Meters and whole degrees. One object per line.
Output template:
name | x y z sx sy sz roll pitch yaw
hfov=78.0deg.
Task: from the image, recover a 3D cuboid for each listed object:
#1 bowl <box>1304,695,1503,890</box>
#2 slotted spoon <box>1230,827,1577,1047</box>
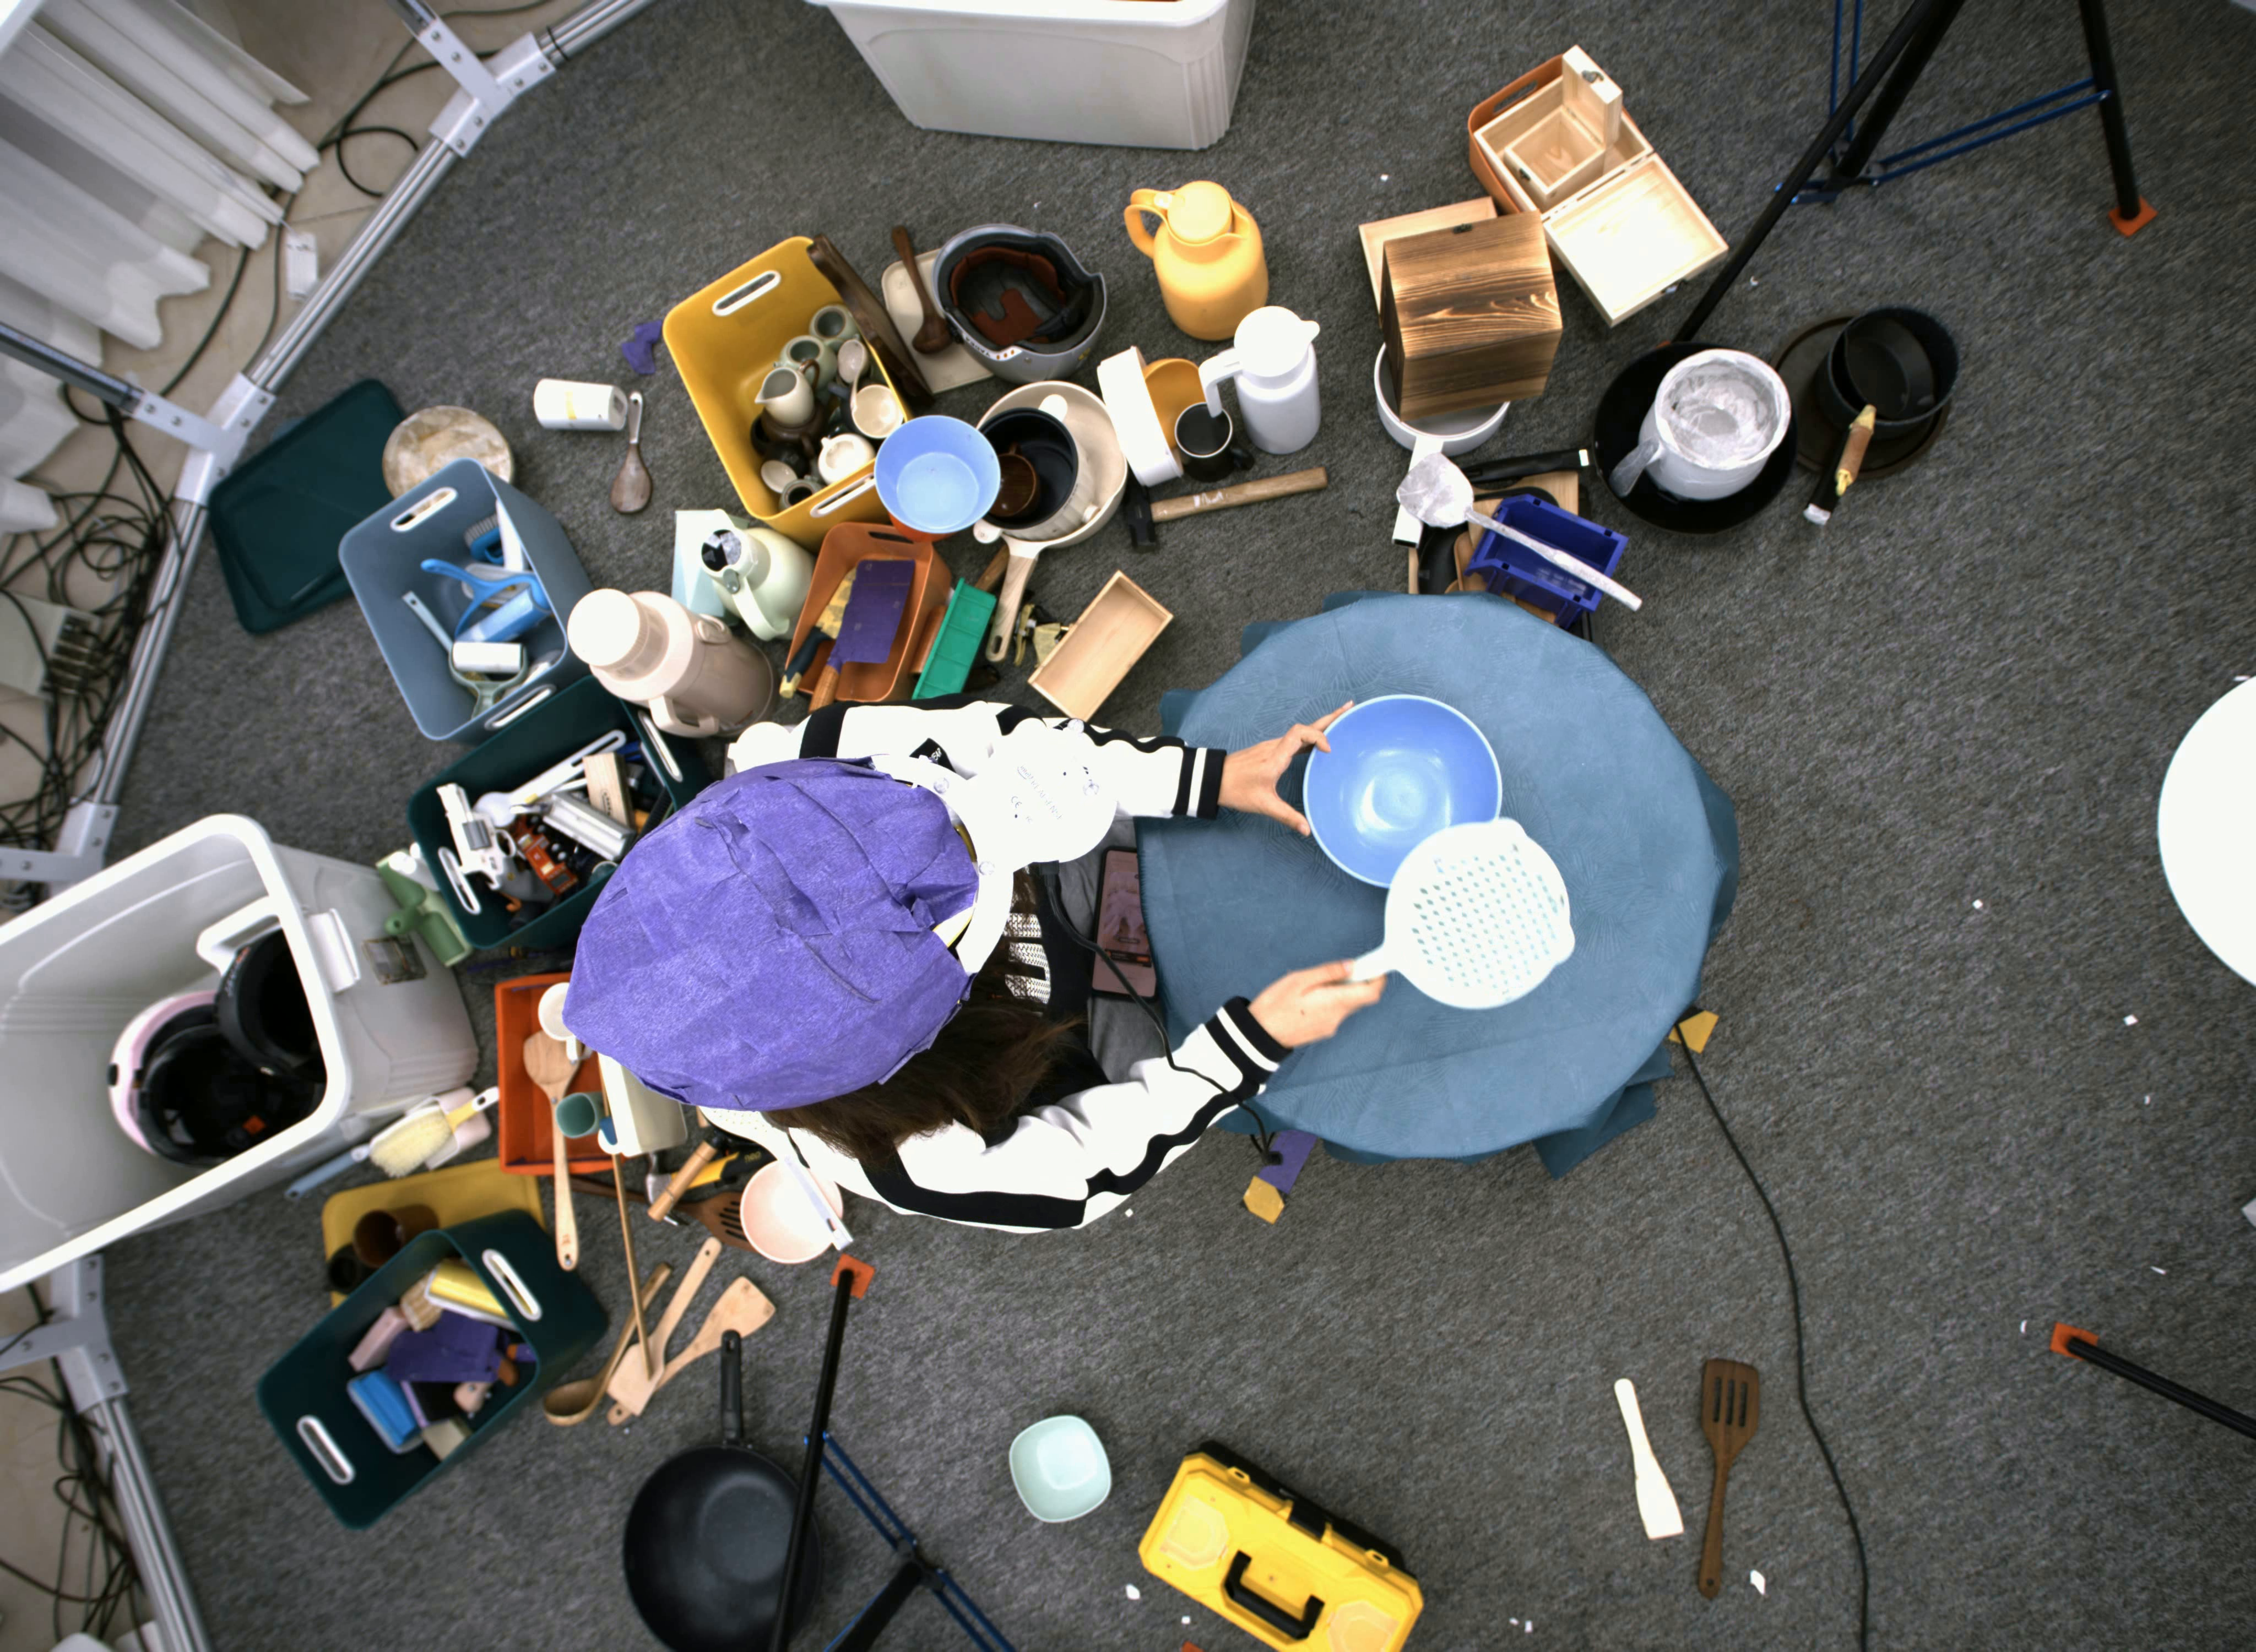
bowl | 0.281 -0.031 1.416 0.197 0.095 0.195 -1 87 11
slotted spoon | 0.250 0.134 1.324 0.362 0.076 0.166 -25 68 15
